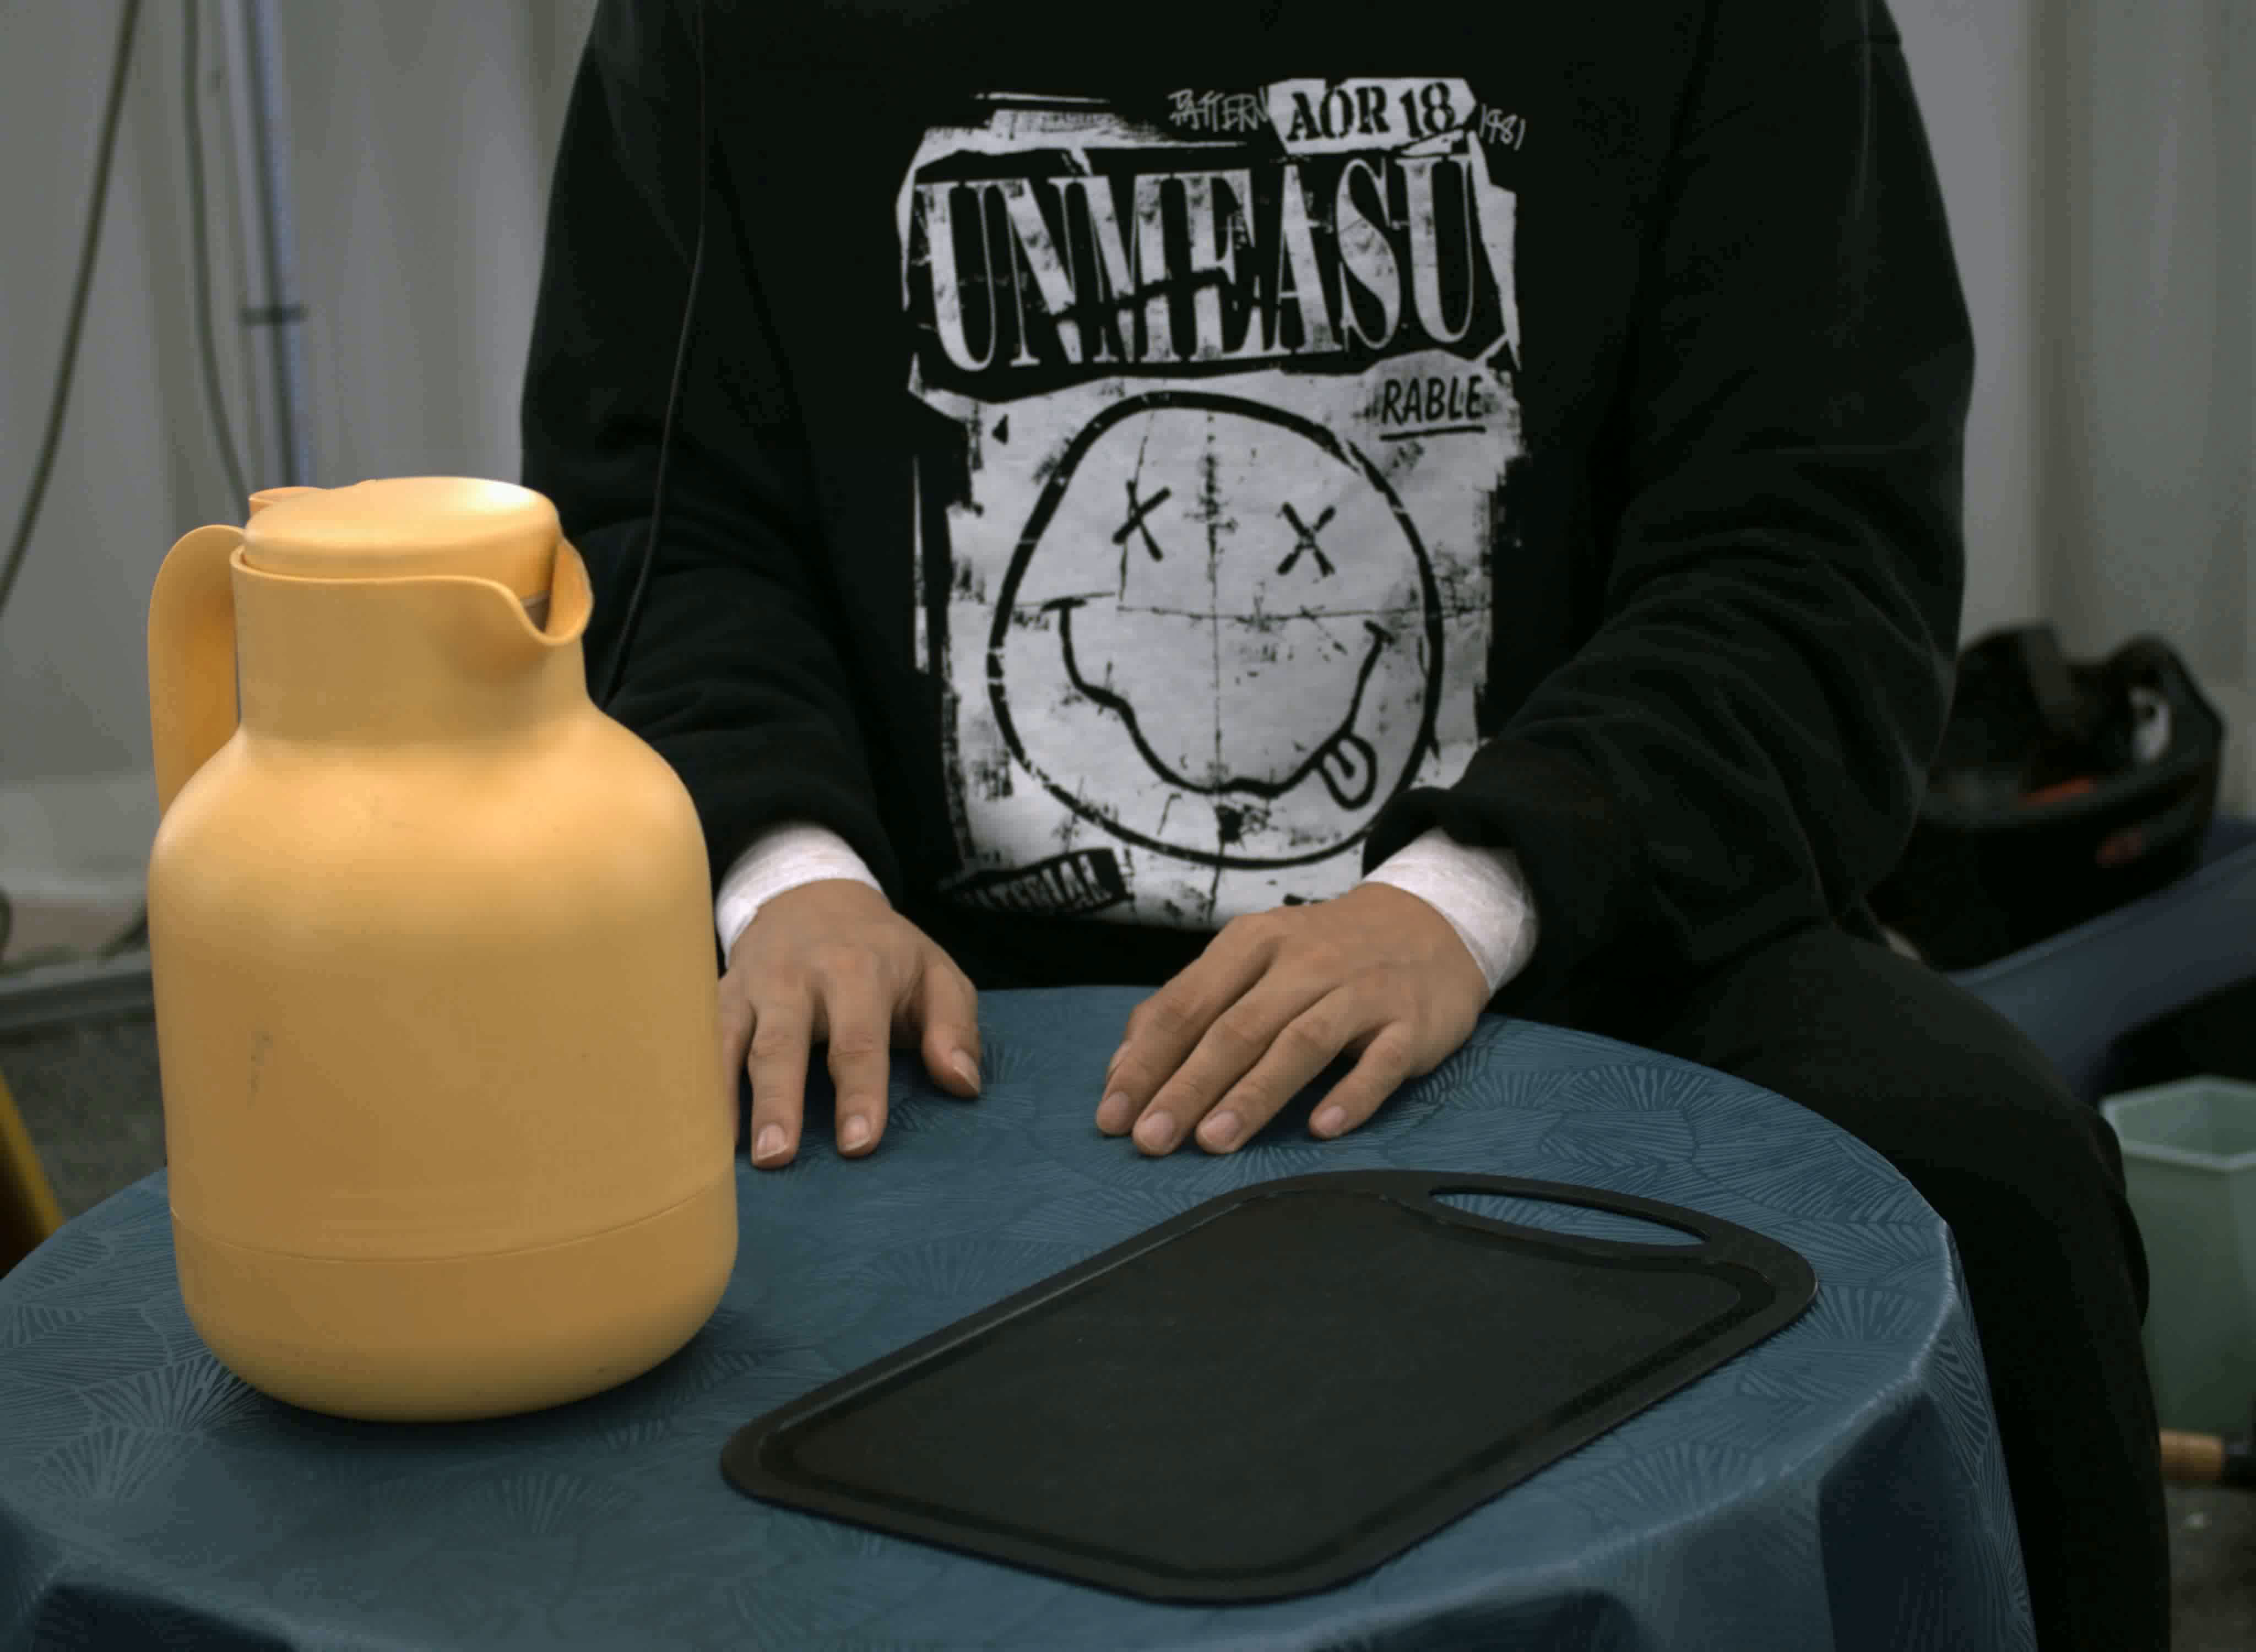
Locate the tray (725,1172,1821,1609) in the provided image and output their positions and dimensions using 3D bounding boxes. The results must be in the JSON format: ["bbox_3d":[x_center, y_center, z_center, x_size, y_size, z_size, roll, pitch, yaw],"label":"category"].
[{"bbox_3d":[0.050,0.151,1.556,0.212,0.010,0.325,9,19,37],"label":"tray"}]

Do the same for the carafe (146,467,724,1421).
[{"bbox_3d":[-0.211,0.026,1.583,0.163,0.259,0.204,-11,17,-39],"label":"carafe"}]
